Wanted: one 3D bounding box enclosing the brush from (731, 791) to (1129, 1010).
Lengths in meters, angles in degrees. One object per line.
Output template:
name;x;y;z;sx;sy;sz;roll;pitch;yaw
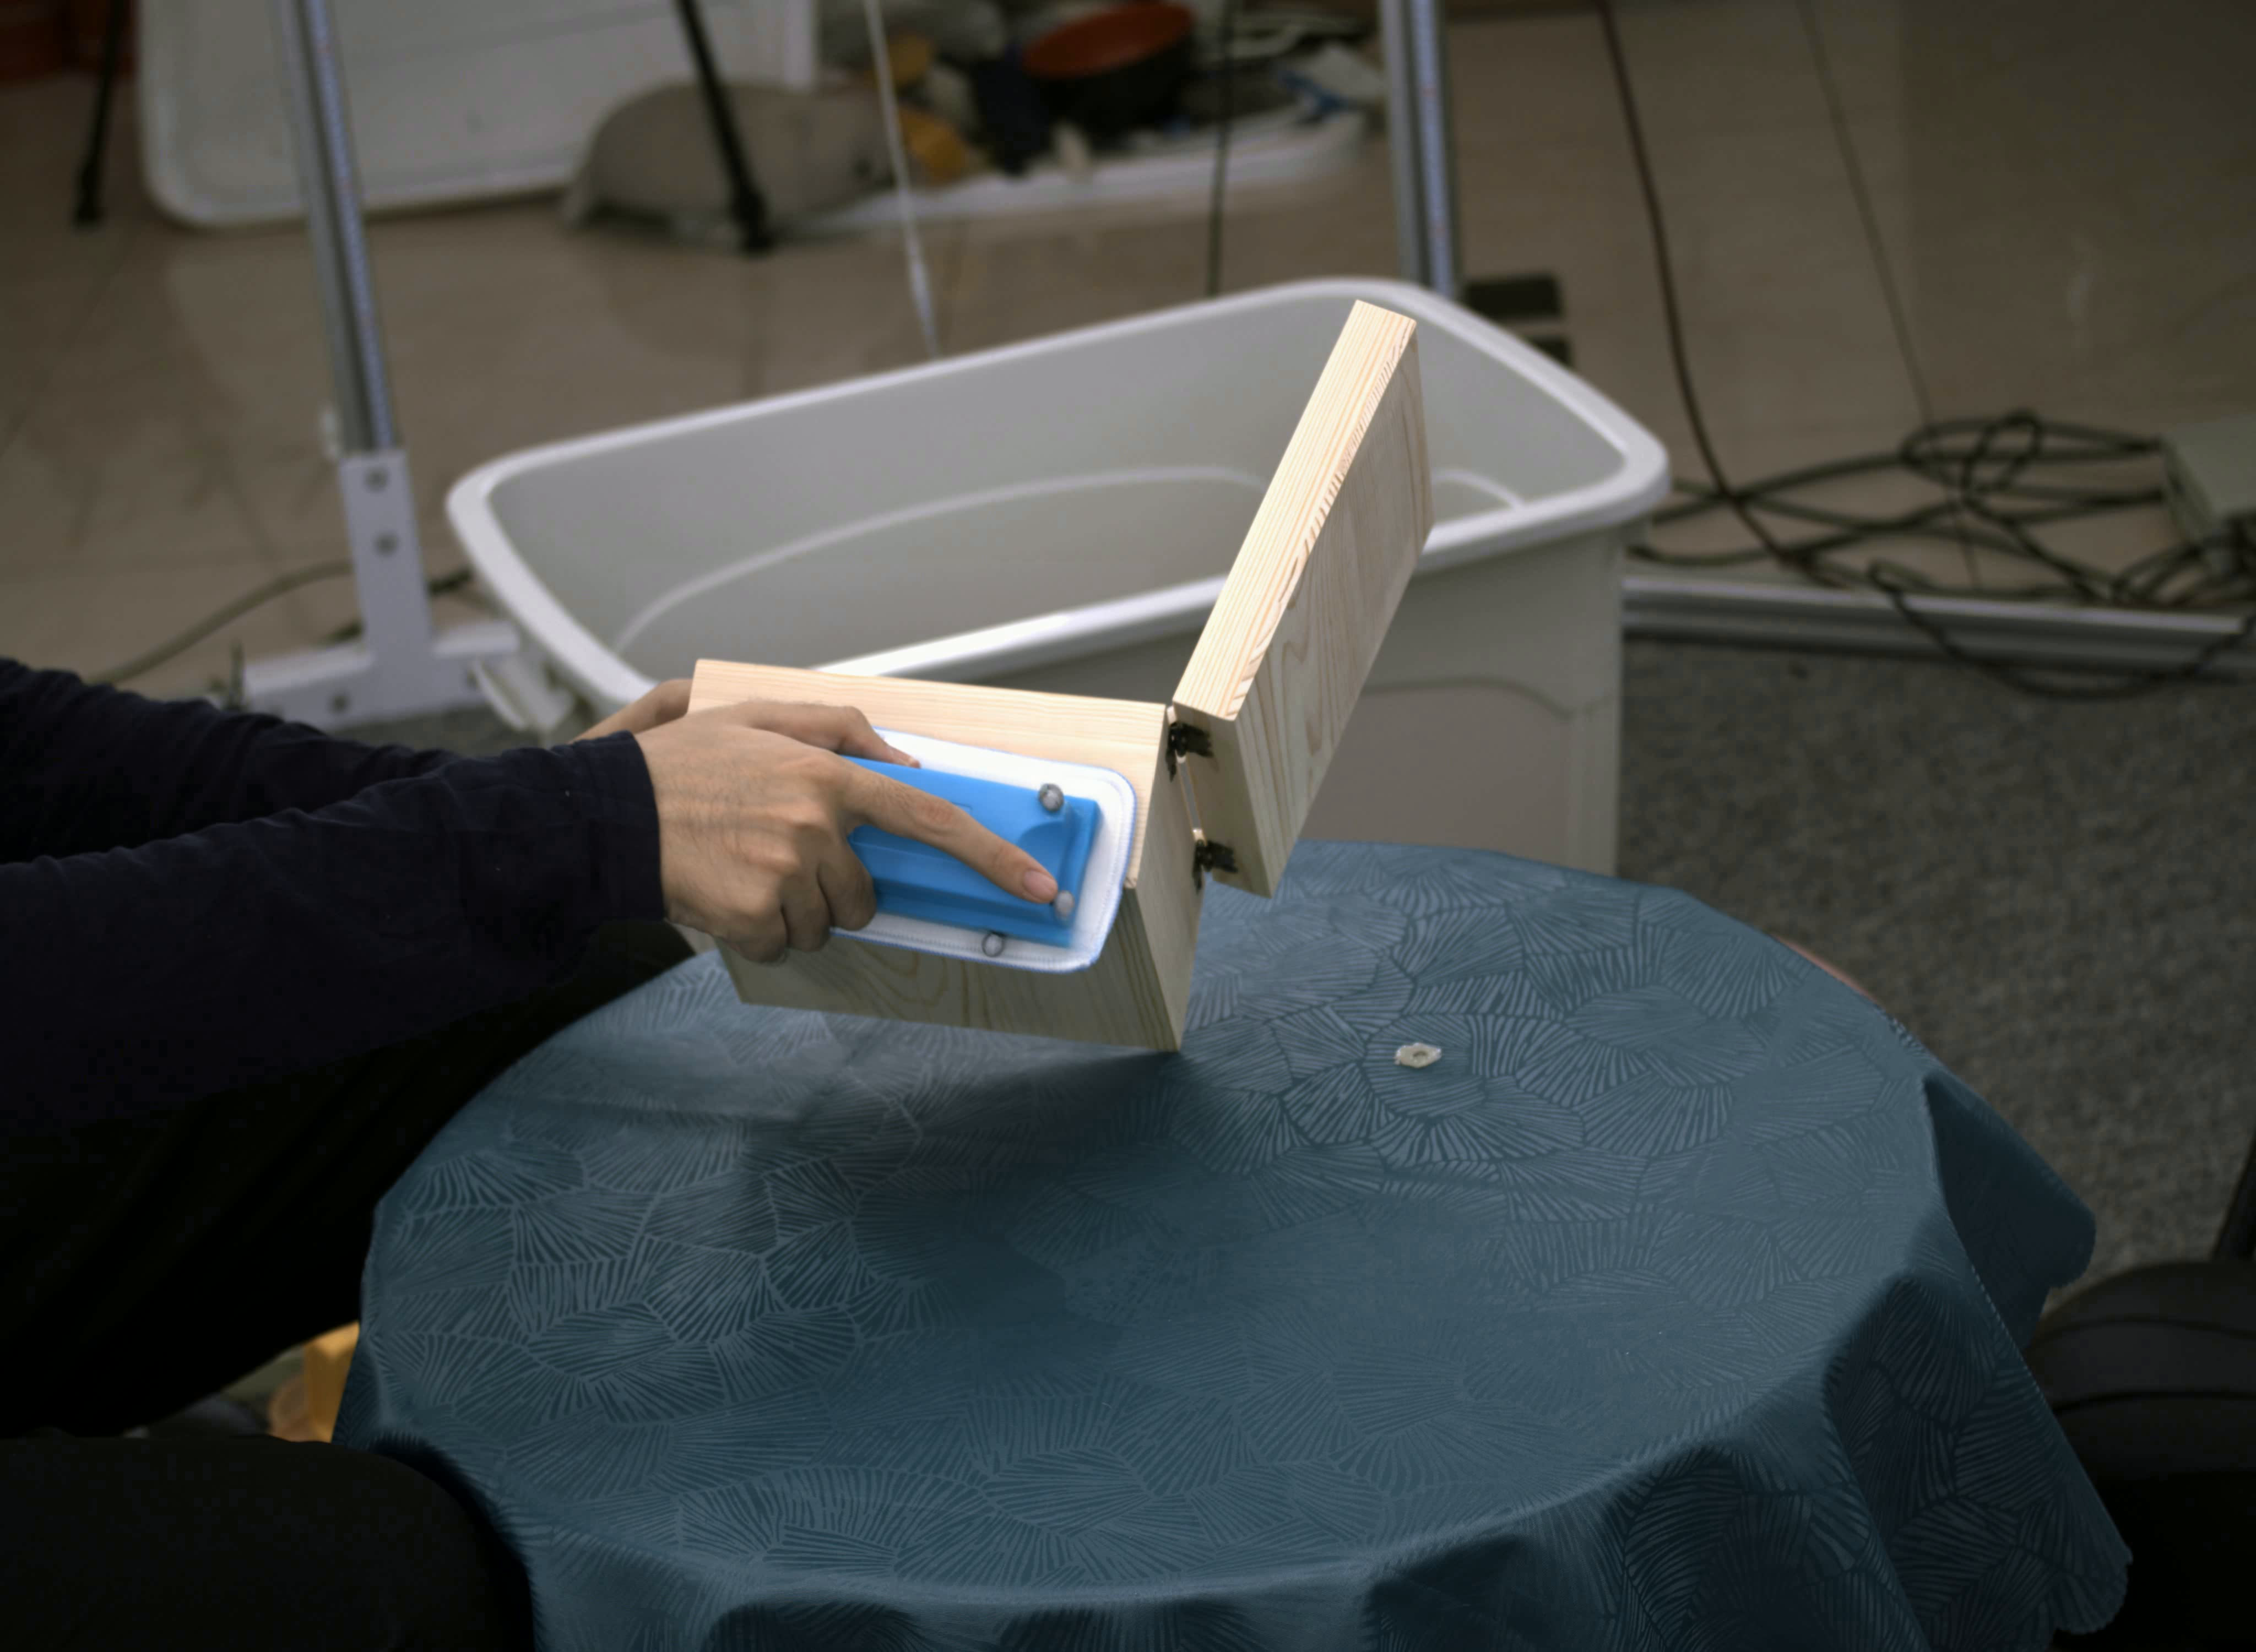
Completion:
brush;-0.073;0.022;2.067;0.143;0.056;0.083;4;67;4

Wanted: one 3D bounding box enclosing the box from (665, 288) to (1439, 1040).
box;-0.026;-0.069;2.212;0.264;0.184;0.251;6;71;7
